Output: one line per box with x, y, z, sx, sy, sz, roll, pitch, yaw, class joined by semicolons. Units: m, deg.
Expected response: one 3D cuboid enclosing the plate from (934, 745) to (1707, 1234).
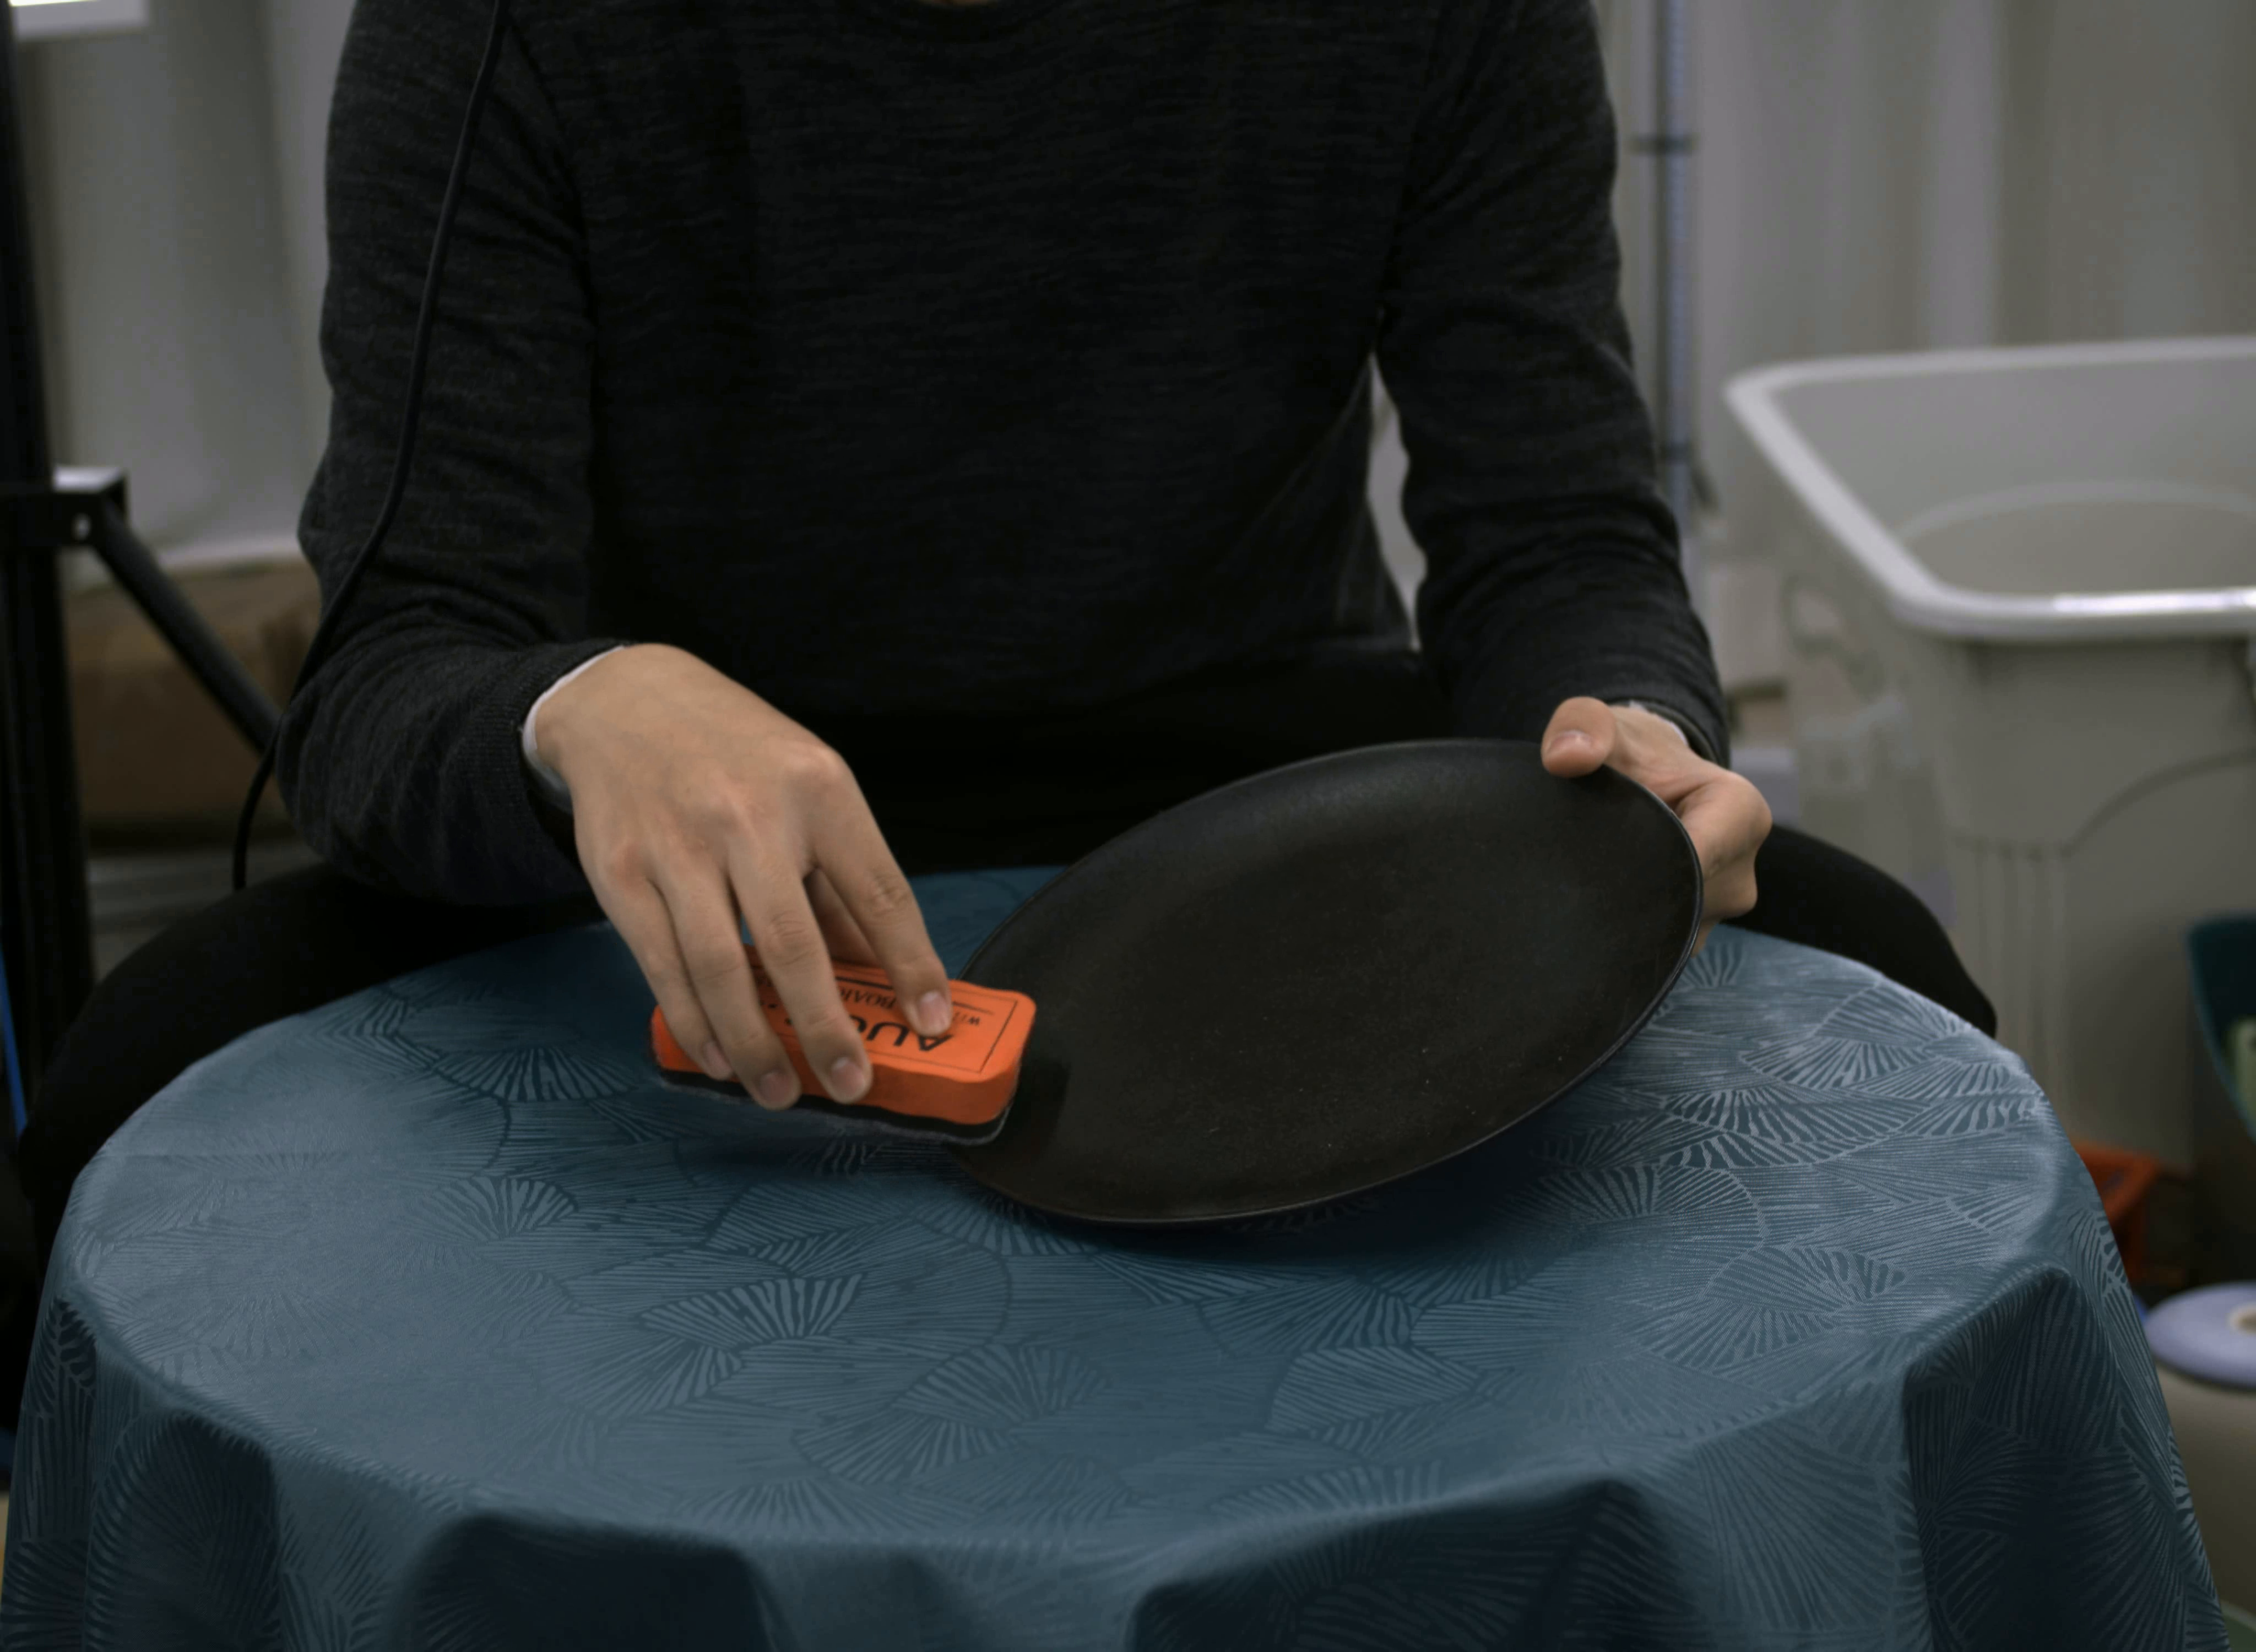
0.057;0.052;1.590;0.245;0.023;0.246;-16;29;8;plate

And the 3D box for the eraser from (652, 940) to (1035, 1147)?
-0.085;0.065;1.597;0.109;0.023;0.058;11;28;14;eraser
